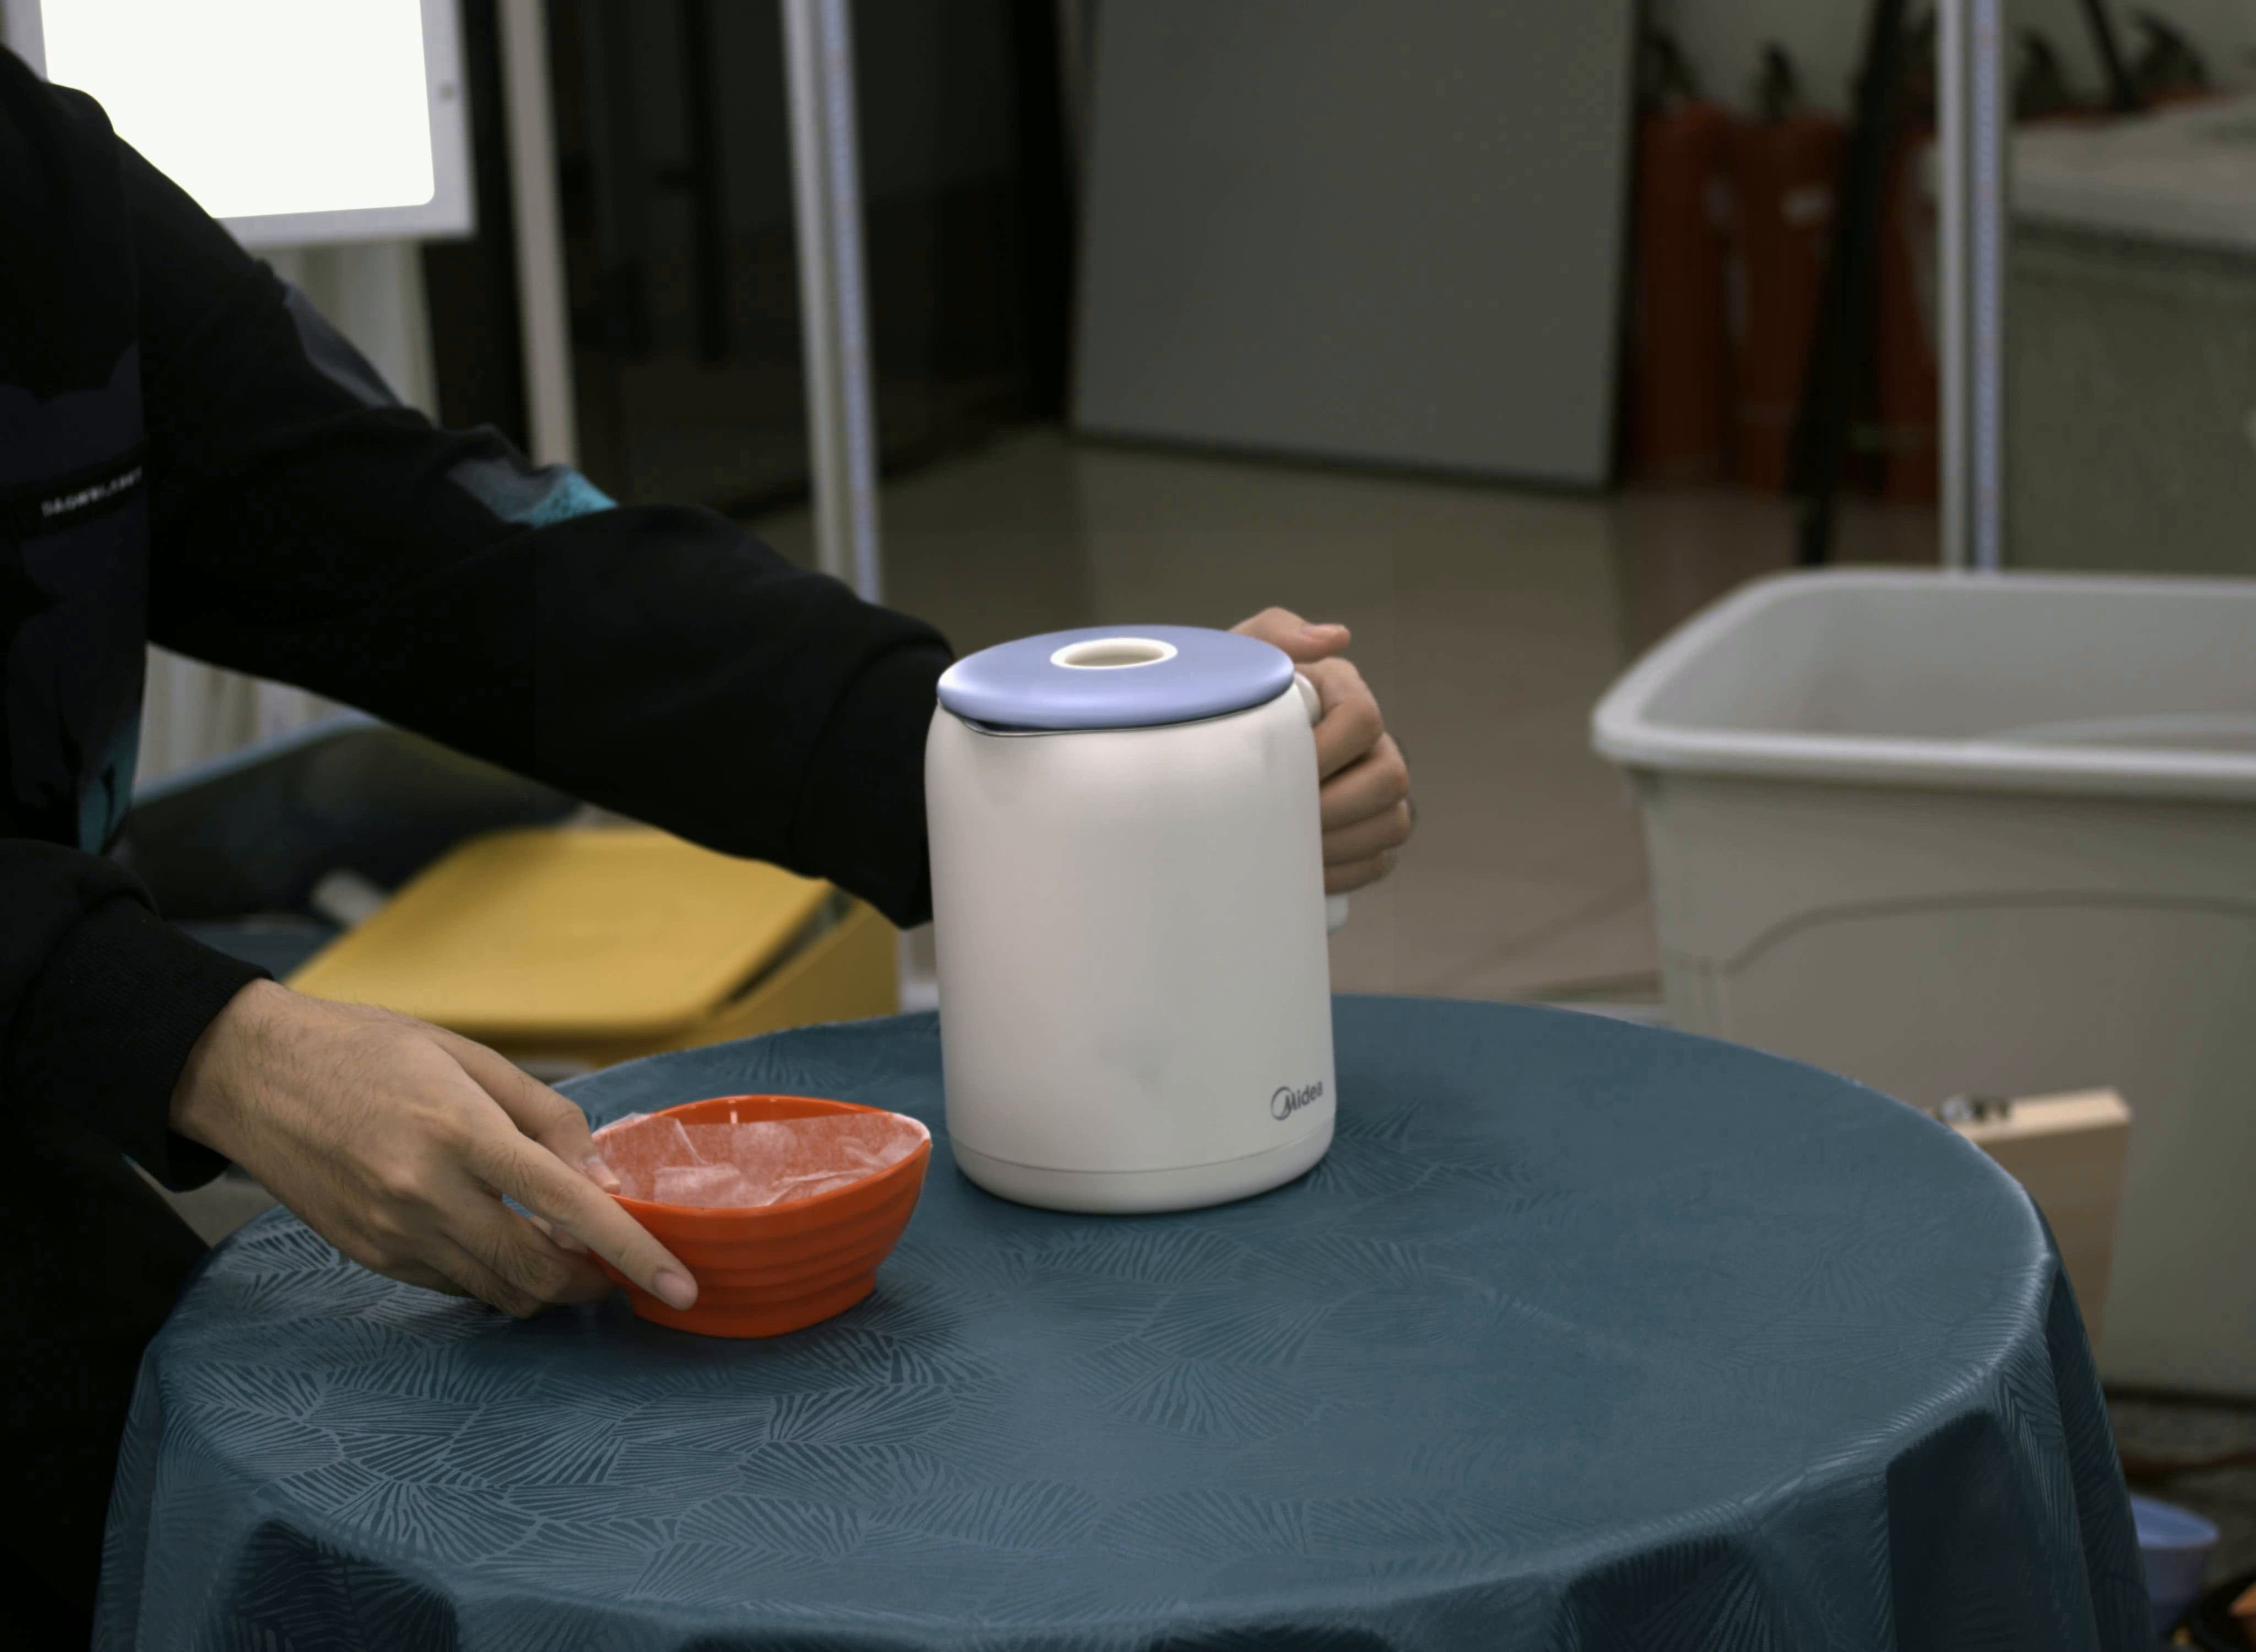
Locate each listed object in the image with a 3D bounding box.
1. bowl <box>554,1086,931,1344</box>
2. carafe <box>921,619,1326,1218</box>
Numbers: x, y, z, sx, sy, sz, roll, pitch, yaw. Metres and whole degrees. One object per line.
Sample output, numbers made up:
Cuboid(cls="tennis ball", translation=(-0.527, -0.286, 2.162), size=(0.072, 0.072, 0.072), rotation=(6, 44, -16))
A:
Cuboid(cls="bowl", translation=(-0.118, 0.123, 1.684), size=(0.117, 0.052, 0.119), rotation=(-3, 17, 0))
Cuboid(cls="carafe", translation=(0.012, 0.025, 1.801), size=(0.133, 0.184, 0.188), rotation=(7, 15, 34))
